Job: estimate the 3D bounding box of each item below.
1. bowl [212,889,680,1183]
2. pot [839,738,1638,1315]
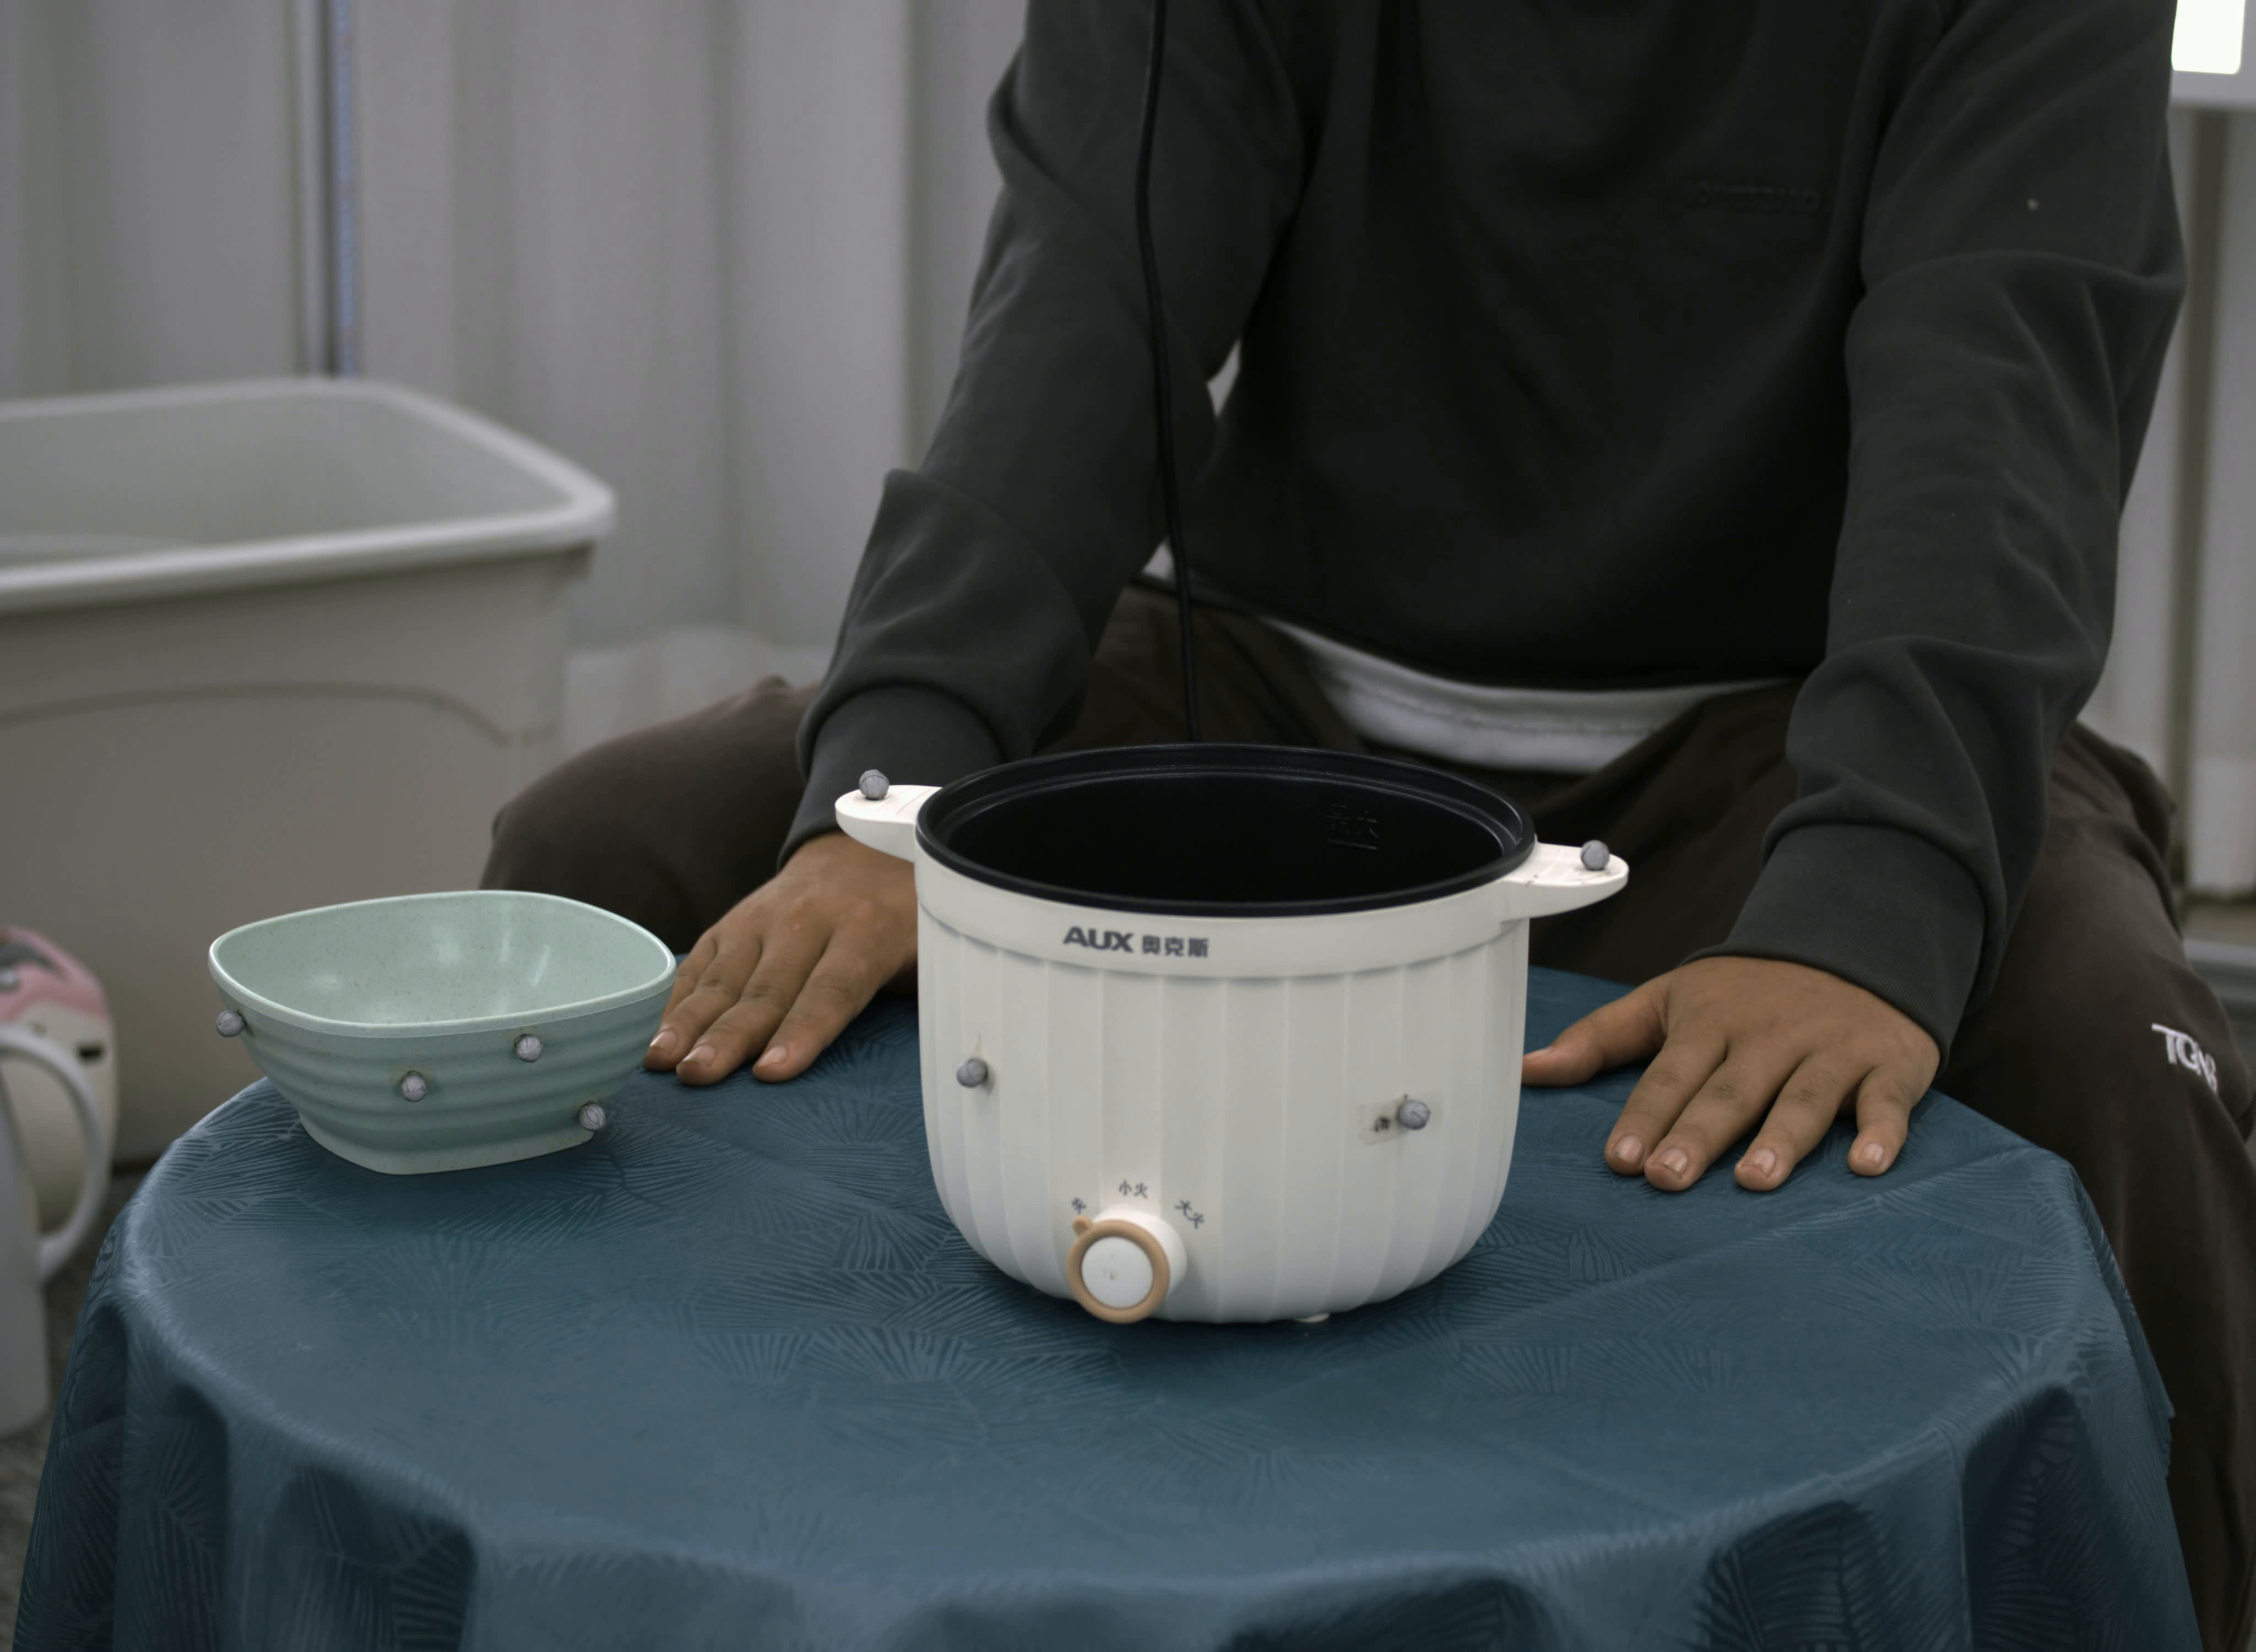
[{"bbox_3d":[-0.216,0.069,1.668,0.151,0.059,0.150,2,17,0],"label":"bowl"},{"bbox_3d":[0.030,0.062,1.546,0.238,0.143,0.190,3,13,15],"label":"pot"}]
